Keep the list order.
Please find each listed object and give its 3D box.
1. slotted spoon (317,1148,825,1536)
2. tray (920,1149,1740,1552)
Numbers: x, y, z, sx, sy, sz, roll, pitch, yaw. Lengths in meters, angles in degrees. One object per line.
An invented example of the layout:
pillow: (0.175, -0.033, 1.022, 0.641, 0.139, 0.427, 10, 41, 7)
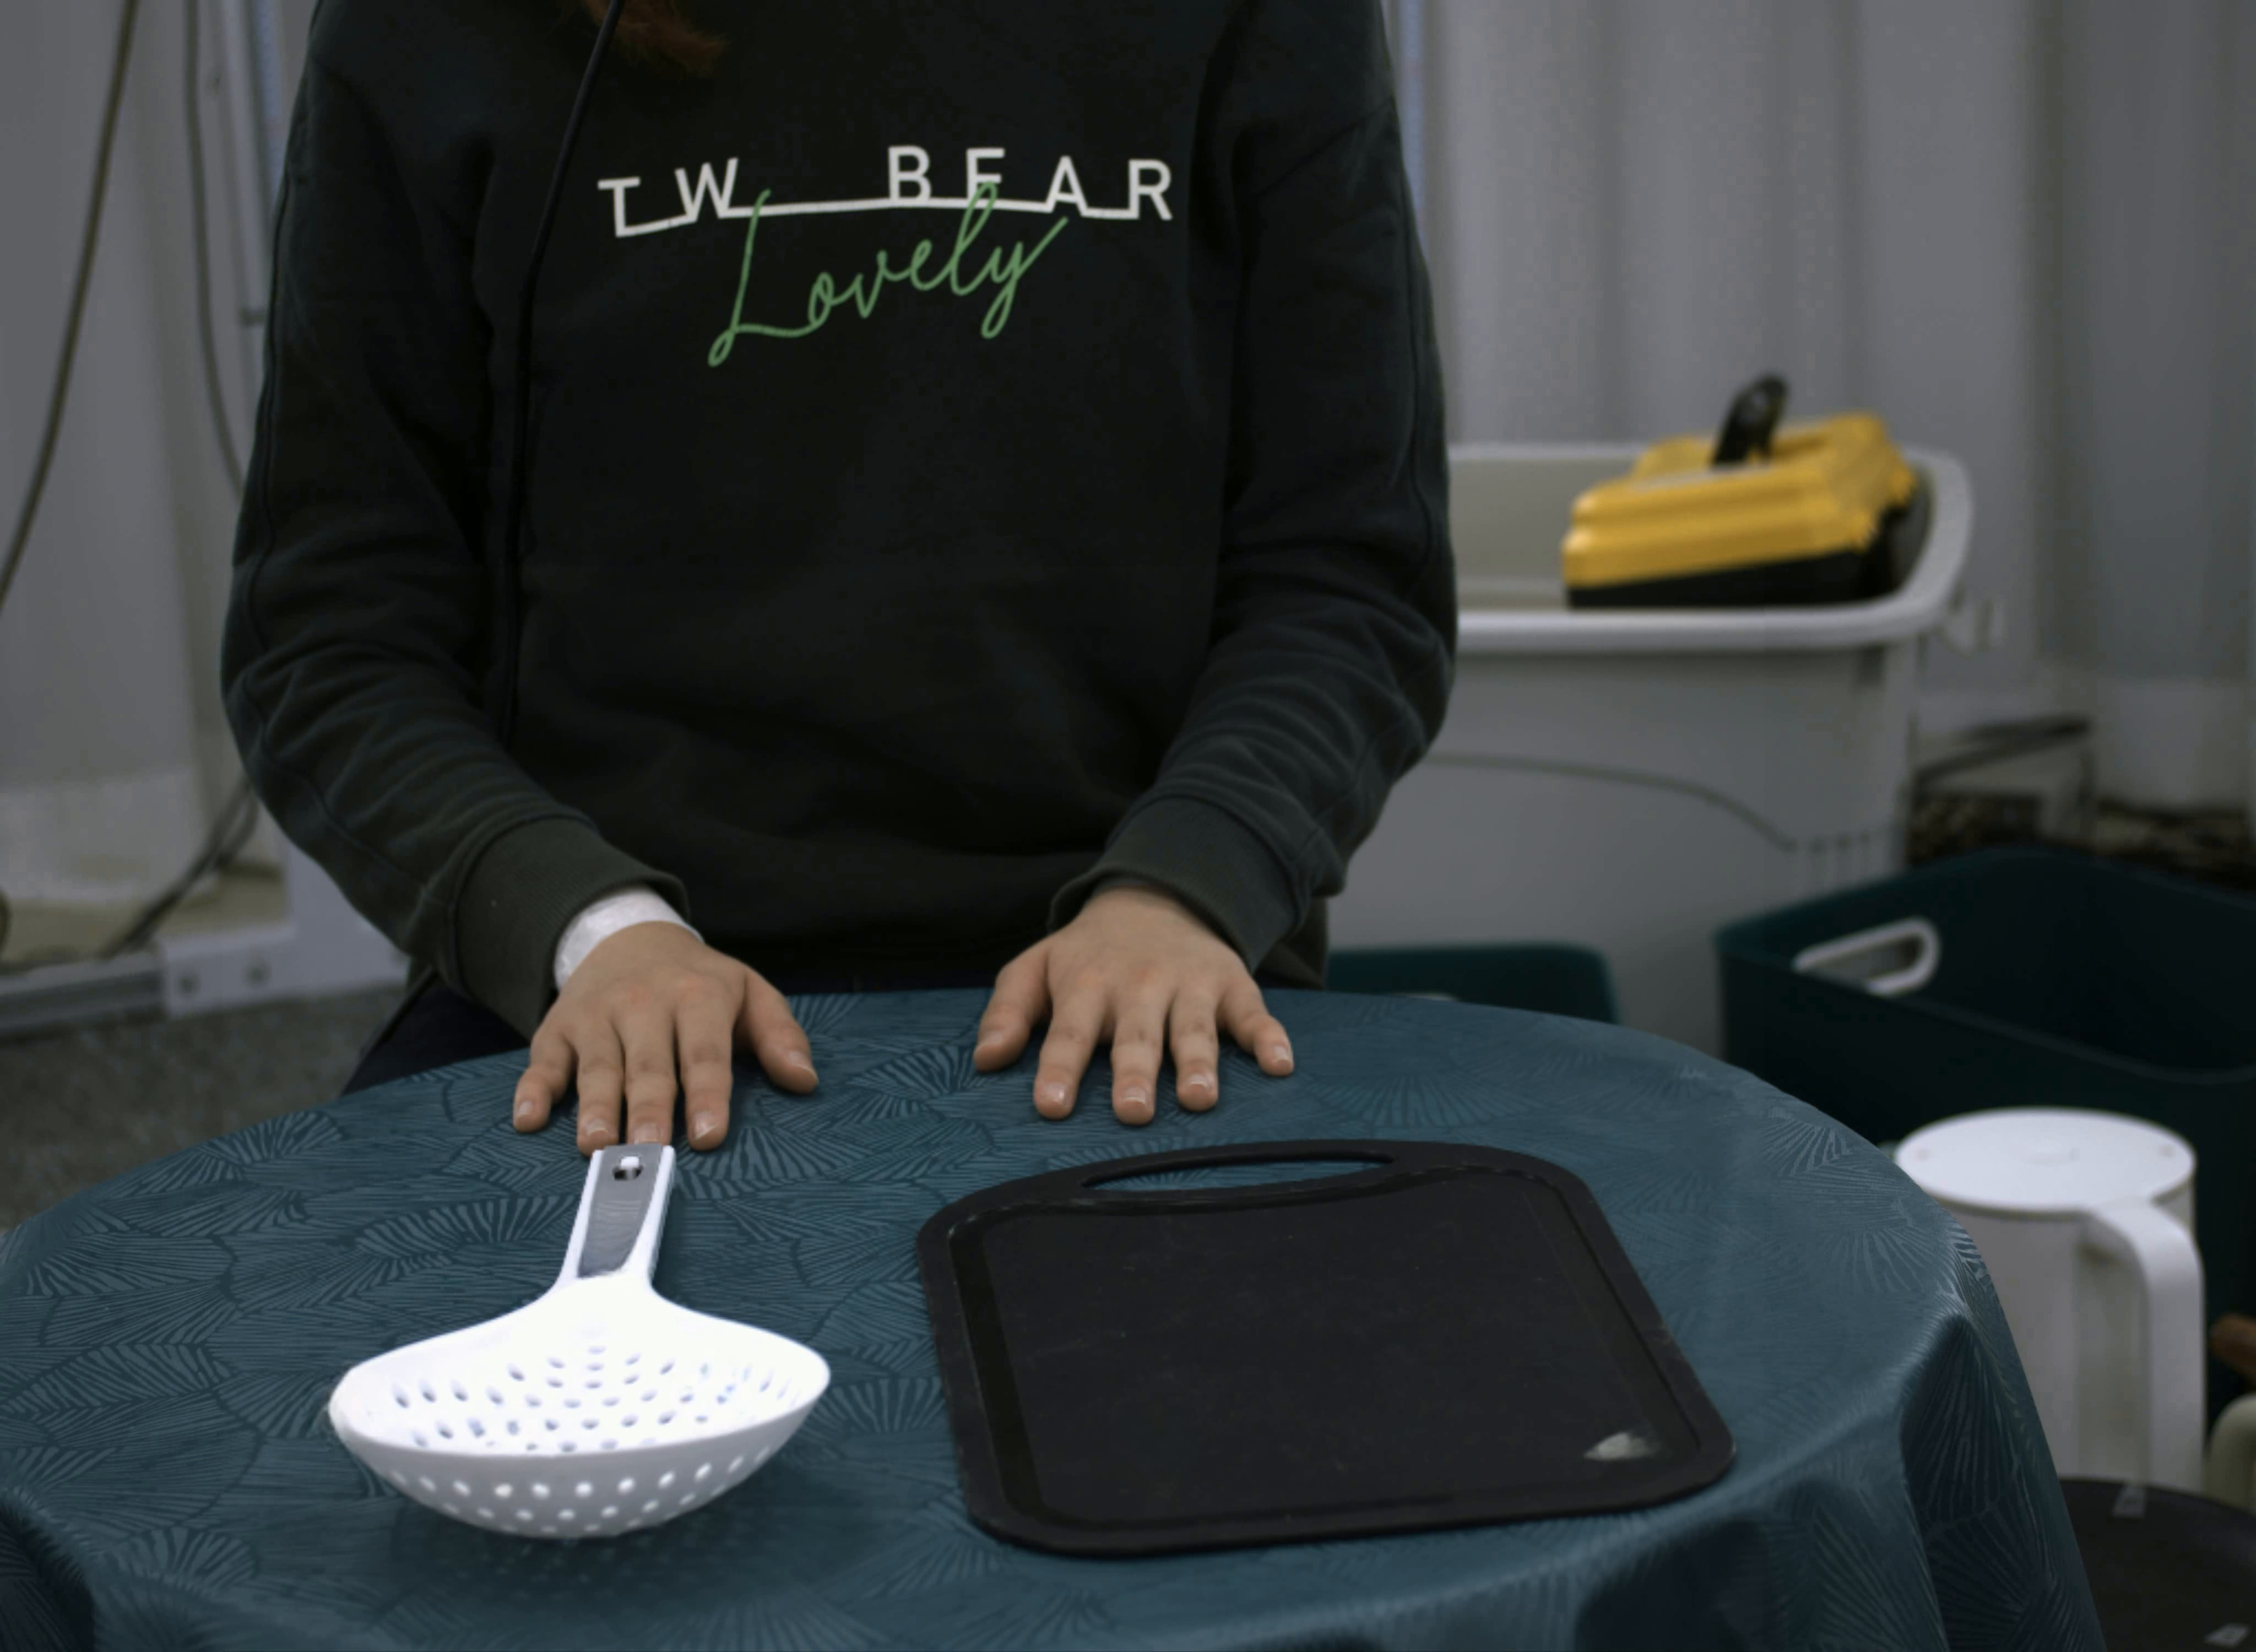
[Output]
slotted spoon: (-0.151, 0.138, 1.567, 0.135, 0.045, 0.352, -1, 14, -1)
tray: (0.049, 0.144, 1.583, 0.210, 0.010, 0.328, -4, 15, -5)
